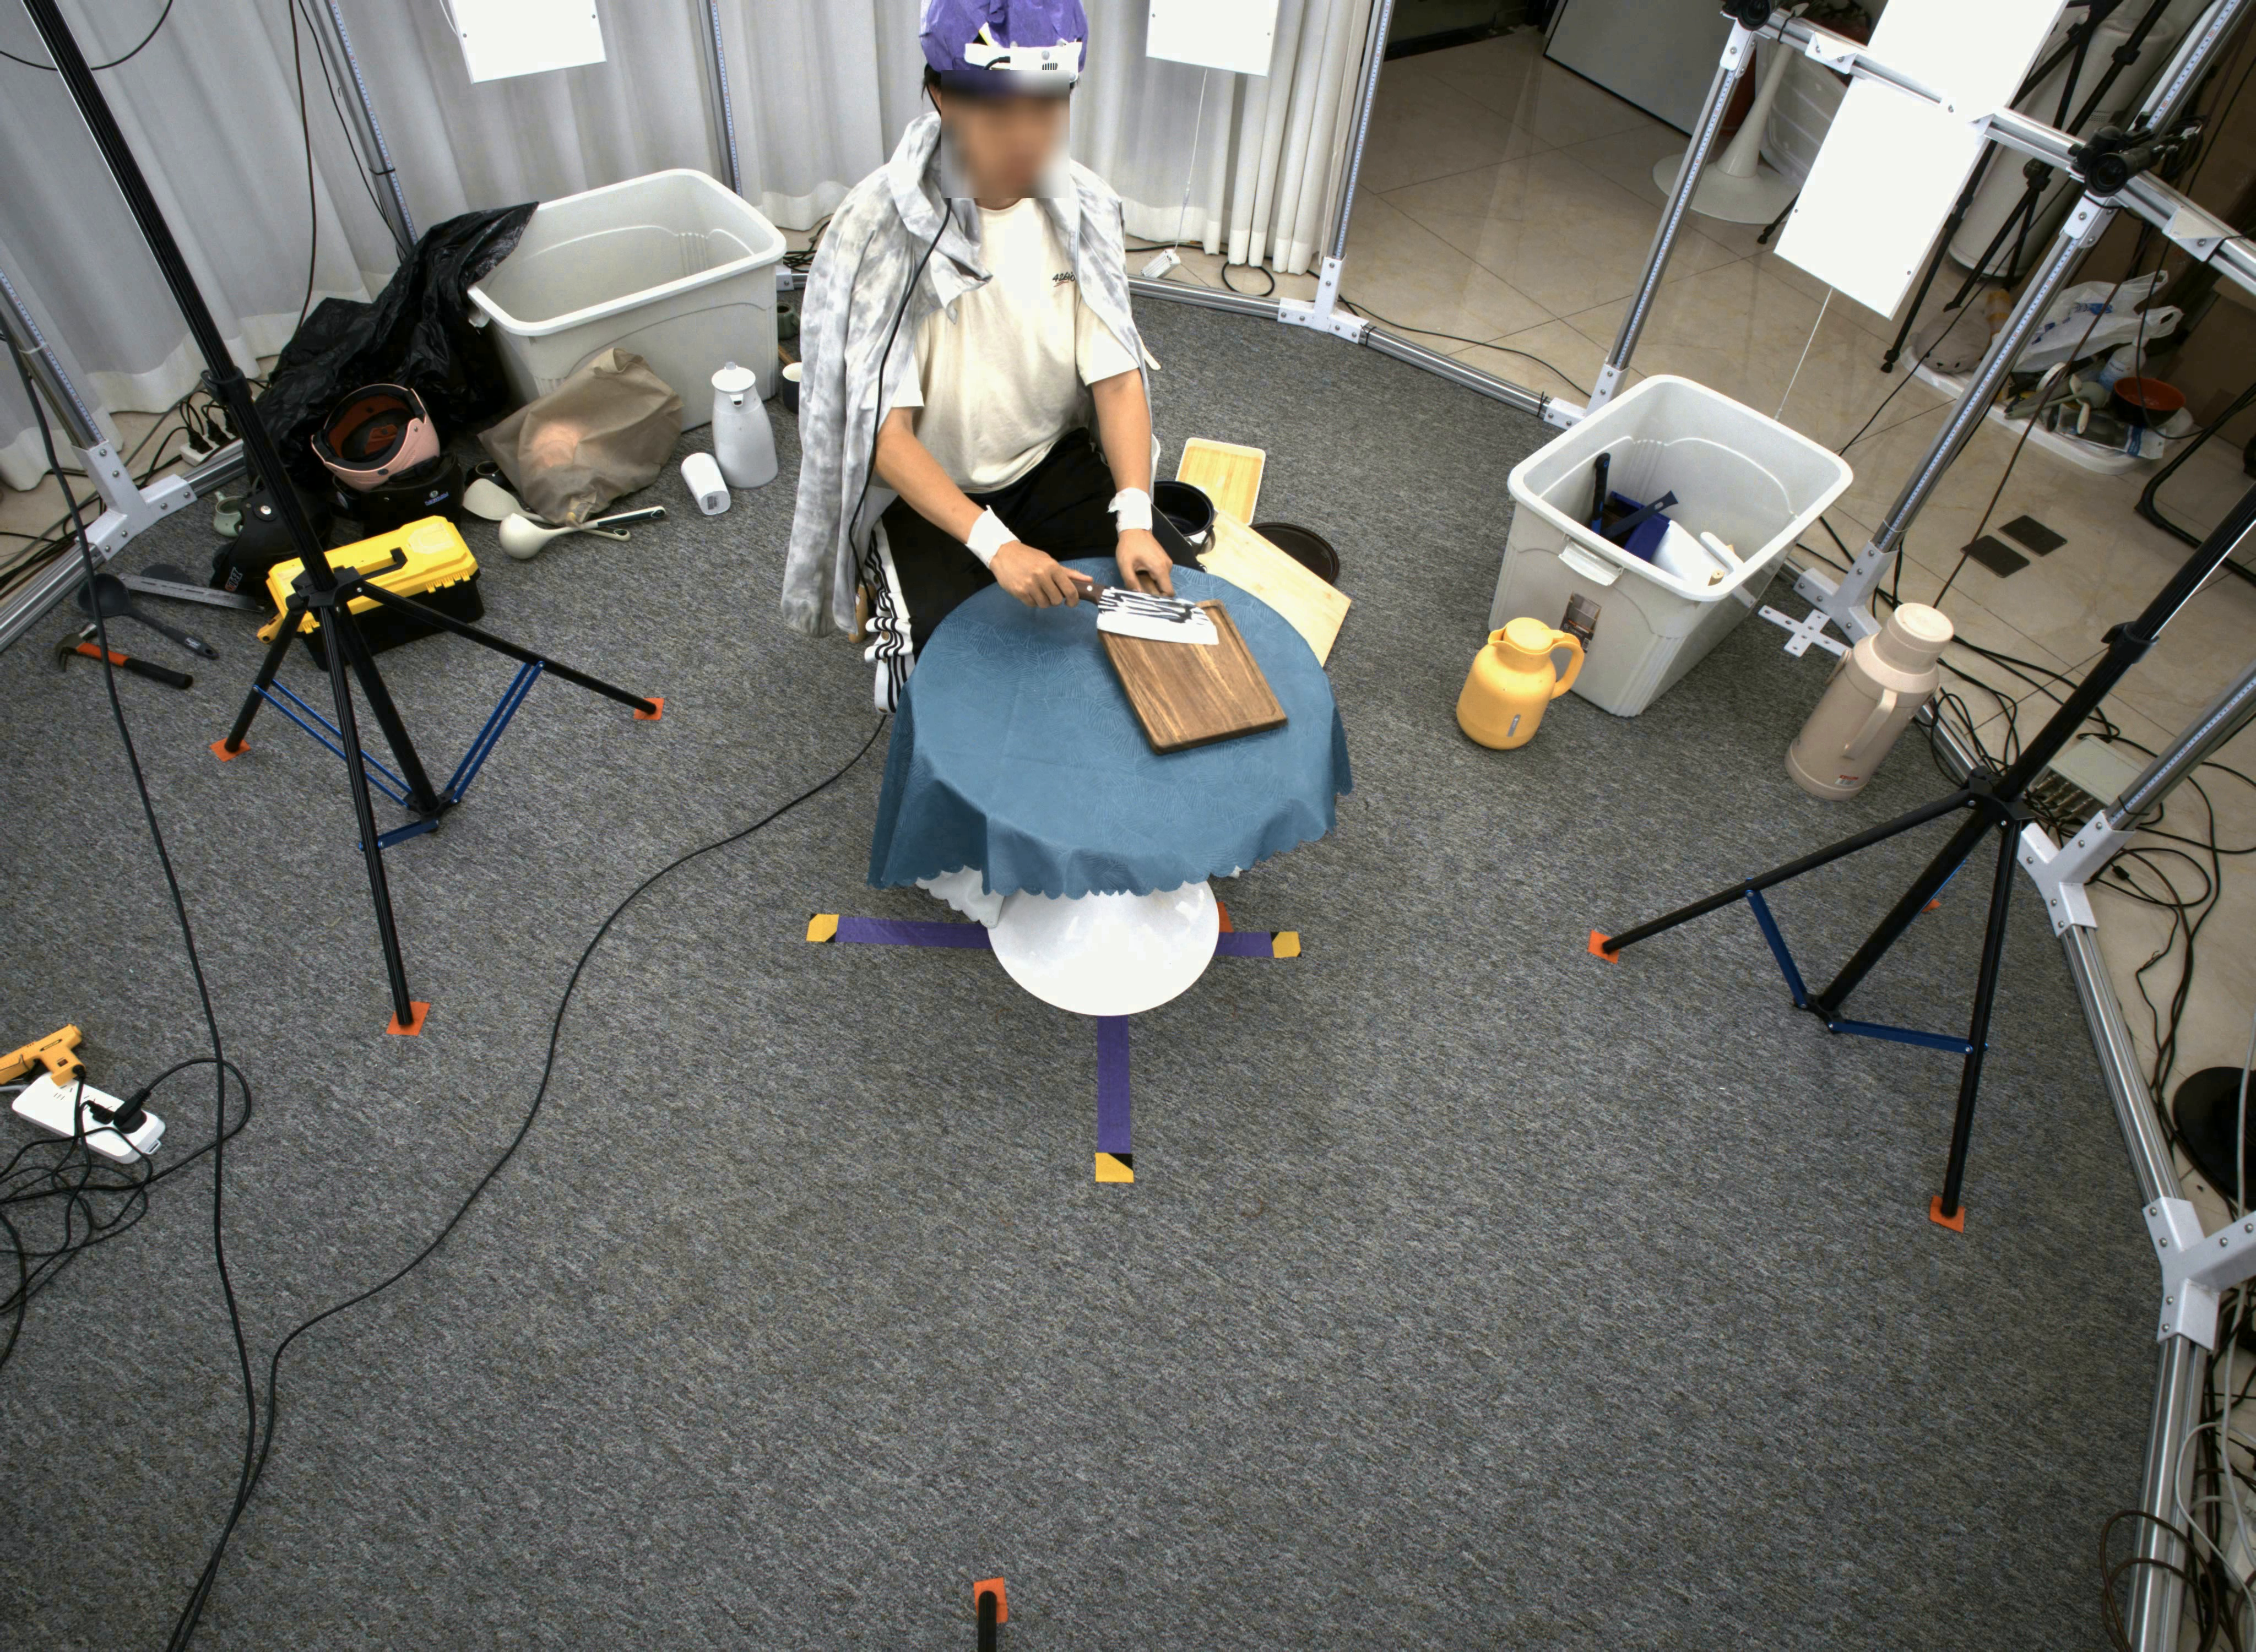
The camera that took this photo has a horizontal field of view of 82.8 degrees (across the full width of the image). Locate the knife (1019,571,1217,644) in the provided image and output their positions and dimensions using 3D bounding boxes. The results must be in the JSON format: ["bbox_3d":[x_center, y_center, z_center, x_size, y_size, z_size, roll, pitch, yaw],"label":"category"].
[{"bbox_3d":[-0.014,-0.316,1.868,0.299,0.024,0.069,11,77,-3],"label":"knife"}]

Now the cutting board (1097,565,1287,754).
[{"bbox_3d":[0.071,-0.258,1.864,0.201,0.022,0.360,-14,54,-16],"label":"cutting board"}]
